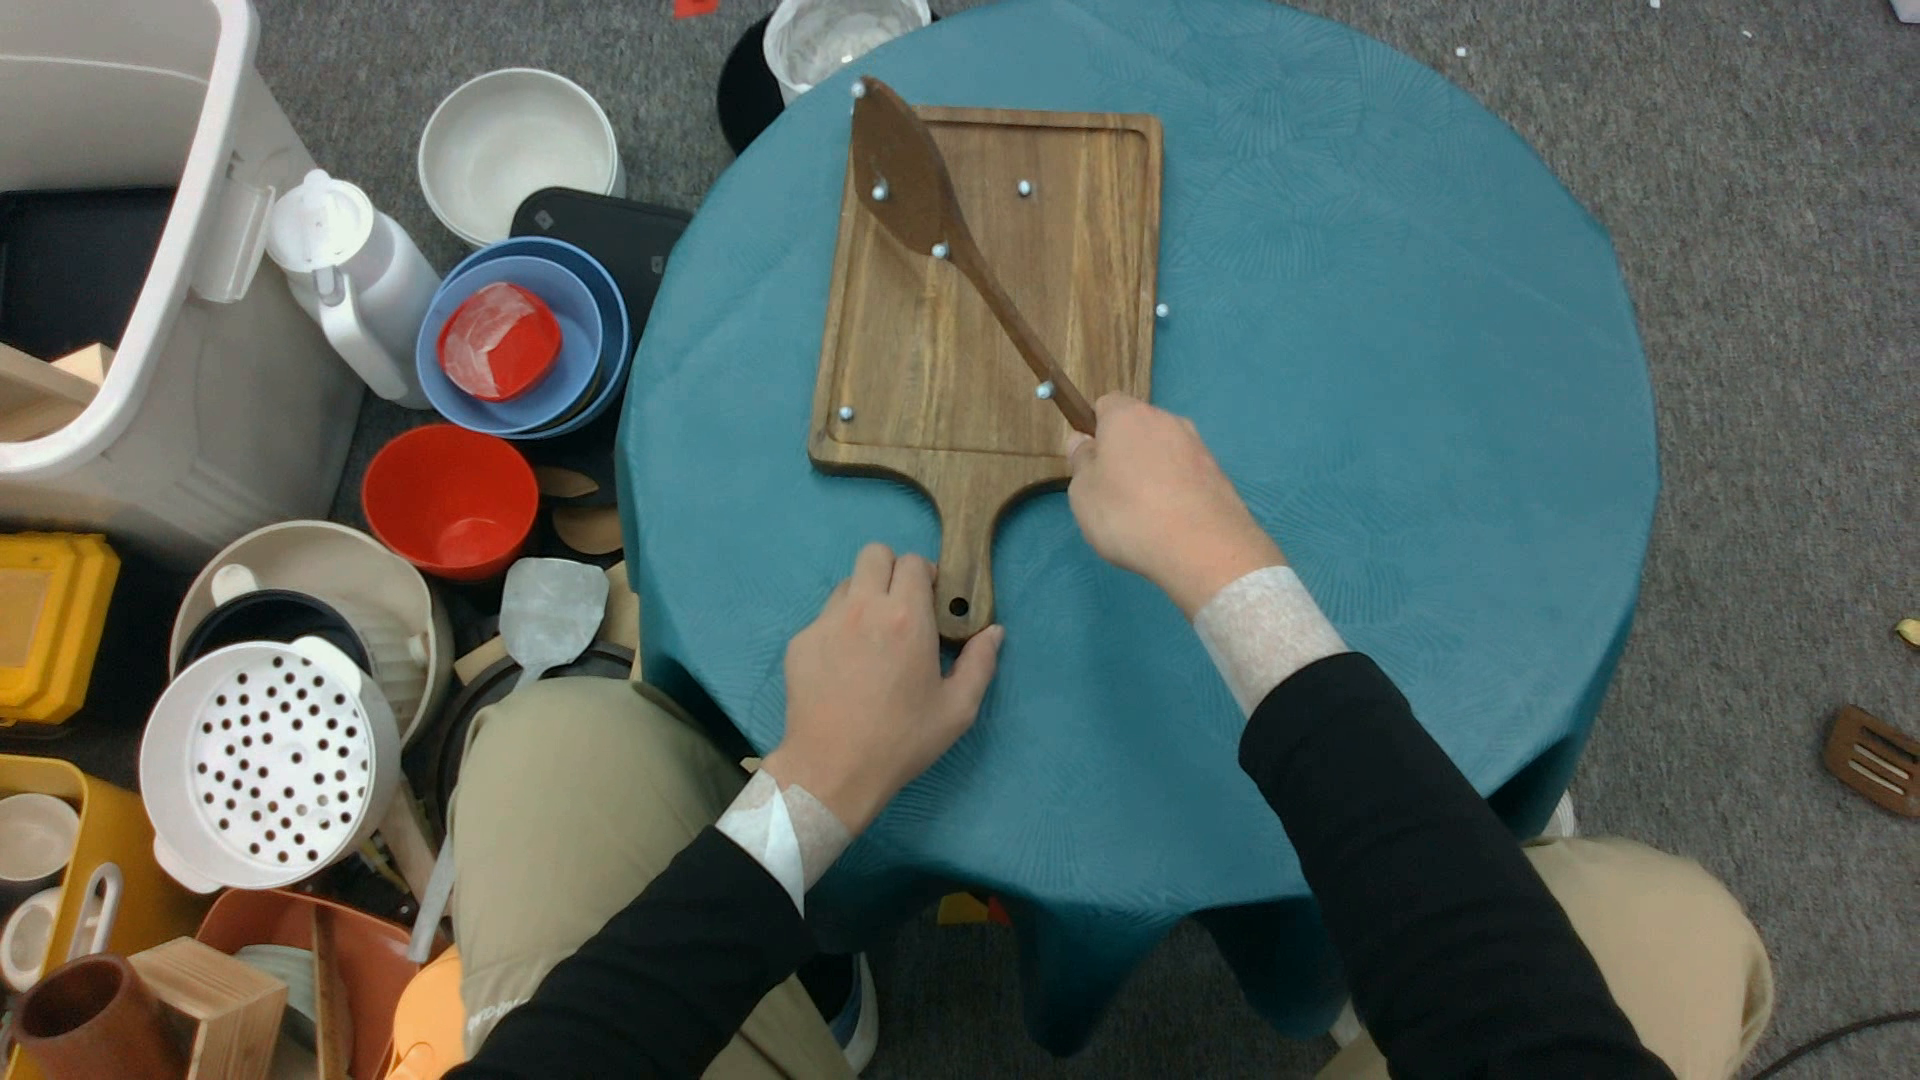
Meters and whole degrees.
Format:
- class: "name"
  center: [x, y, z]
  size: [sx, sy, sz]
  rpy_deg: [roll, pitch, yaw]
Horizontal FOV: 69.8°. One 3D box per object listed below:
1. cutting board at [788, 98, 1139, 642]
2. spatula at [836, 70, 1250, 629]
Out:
- class: "cutting board"
  center: [0.003, -0.112, 0.812]
  size: [0.201, 0.023, 0.353]
  rpy_deg: [3, 69, 4]
- class: "spatula"
  center: [0.031, -0.104, 0.725]
  size: [0.016, 0.095, 0.386]
  rpy_deg: [-26, 65, -20]
